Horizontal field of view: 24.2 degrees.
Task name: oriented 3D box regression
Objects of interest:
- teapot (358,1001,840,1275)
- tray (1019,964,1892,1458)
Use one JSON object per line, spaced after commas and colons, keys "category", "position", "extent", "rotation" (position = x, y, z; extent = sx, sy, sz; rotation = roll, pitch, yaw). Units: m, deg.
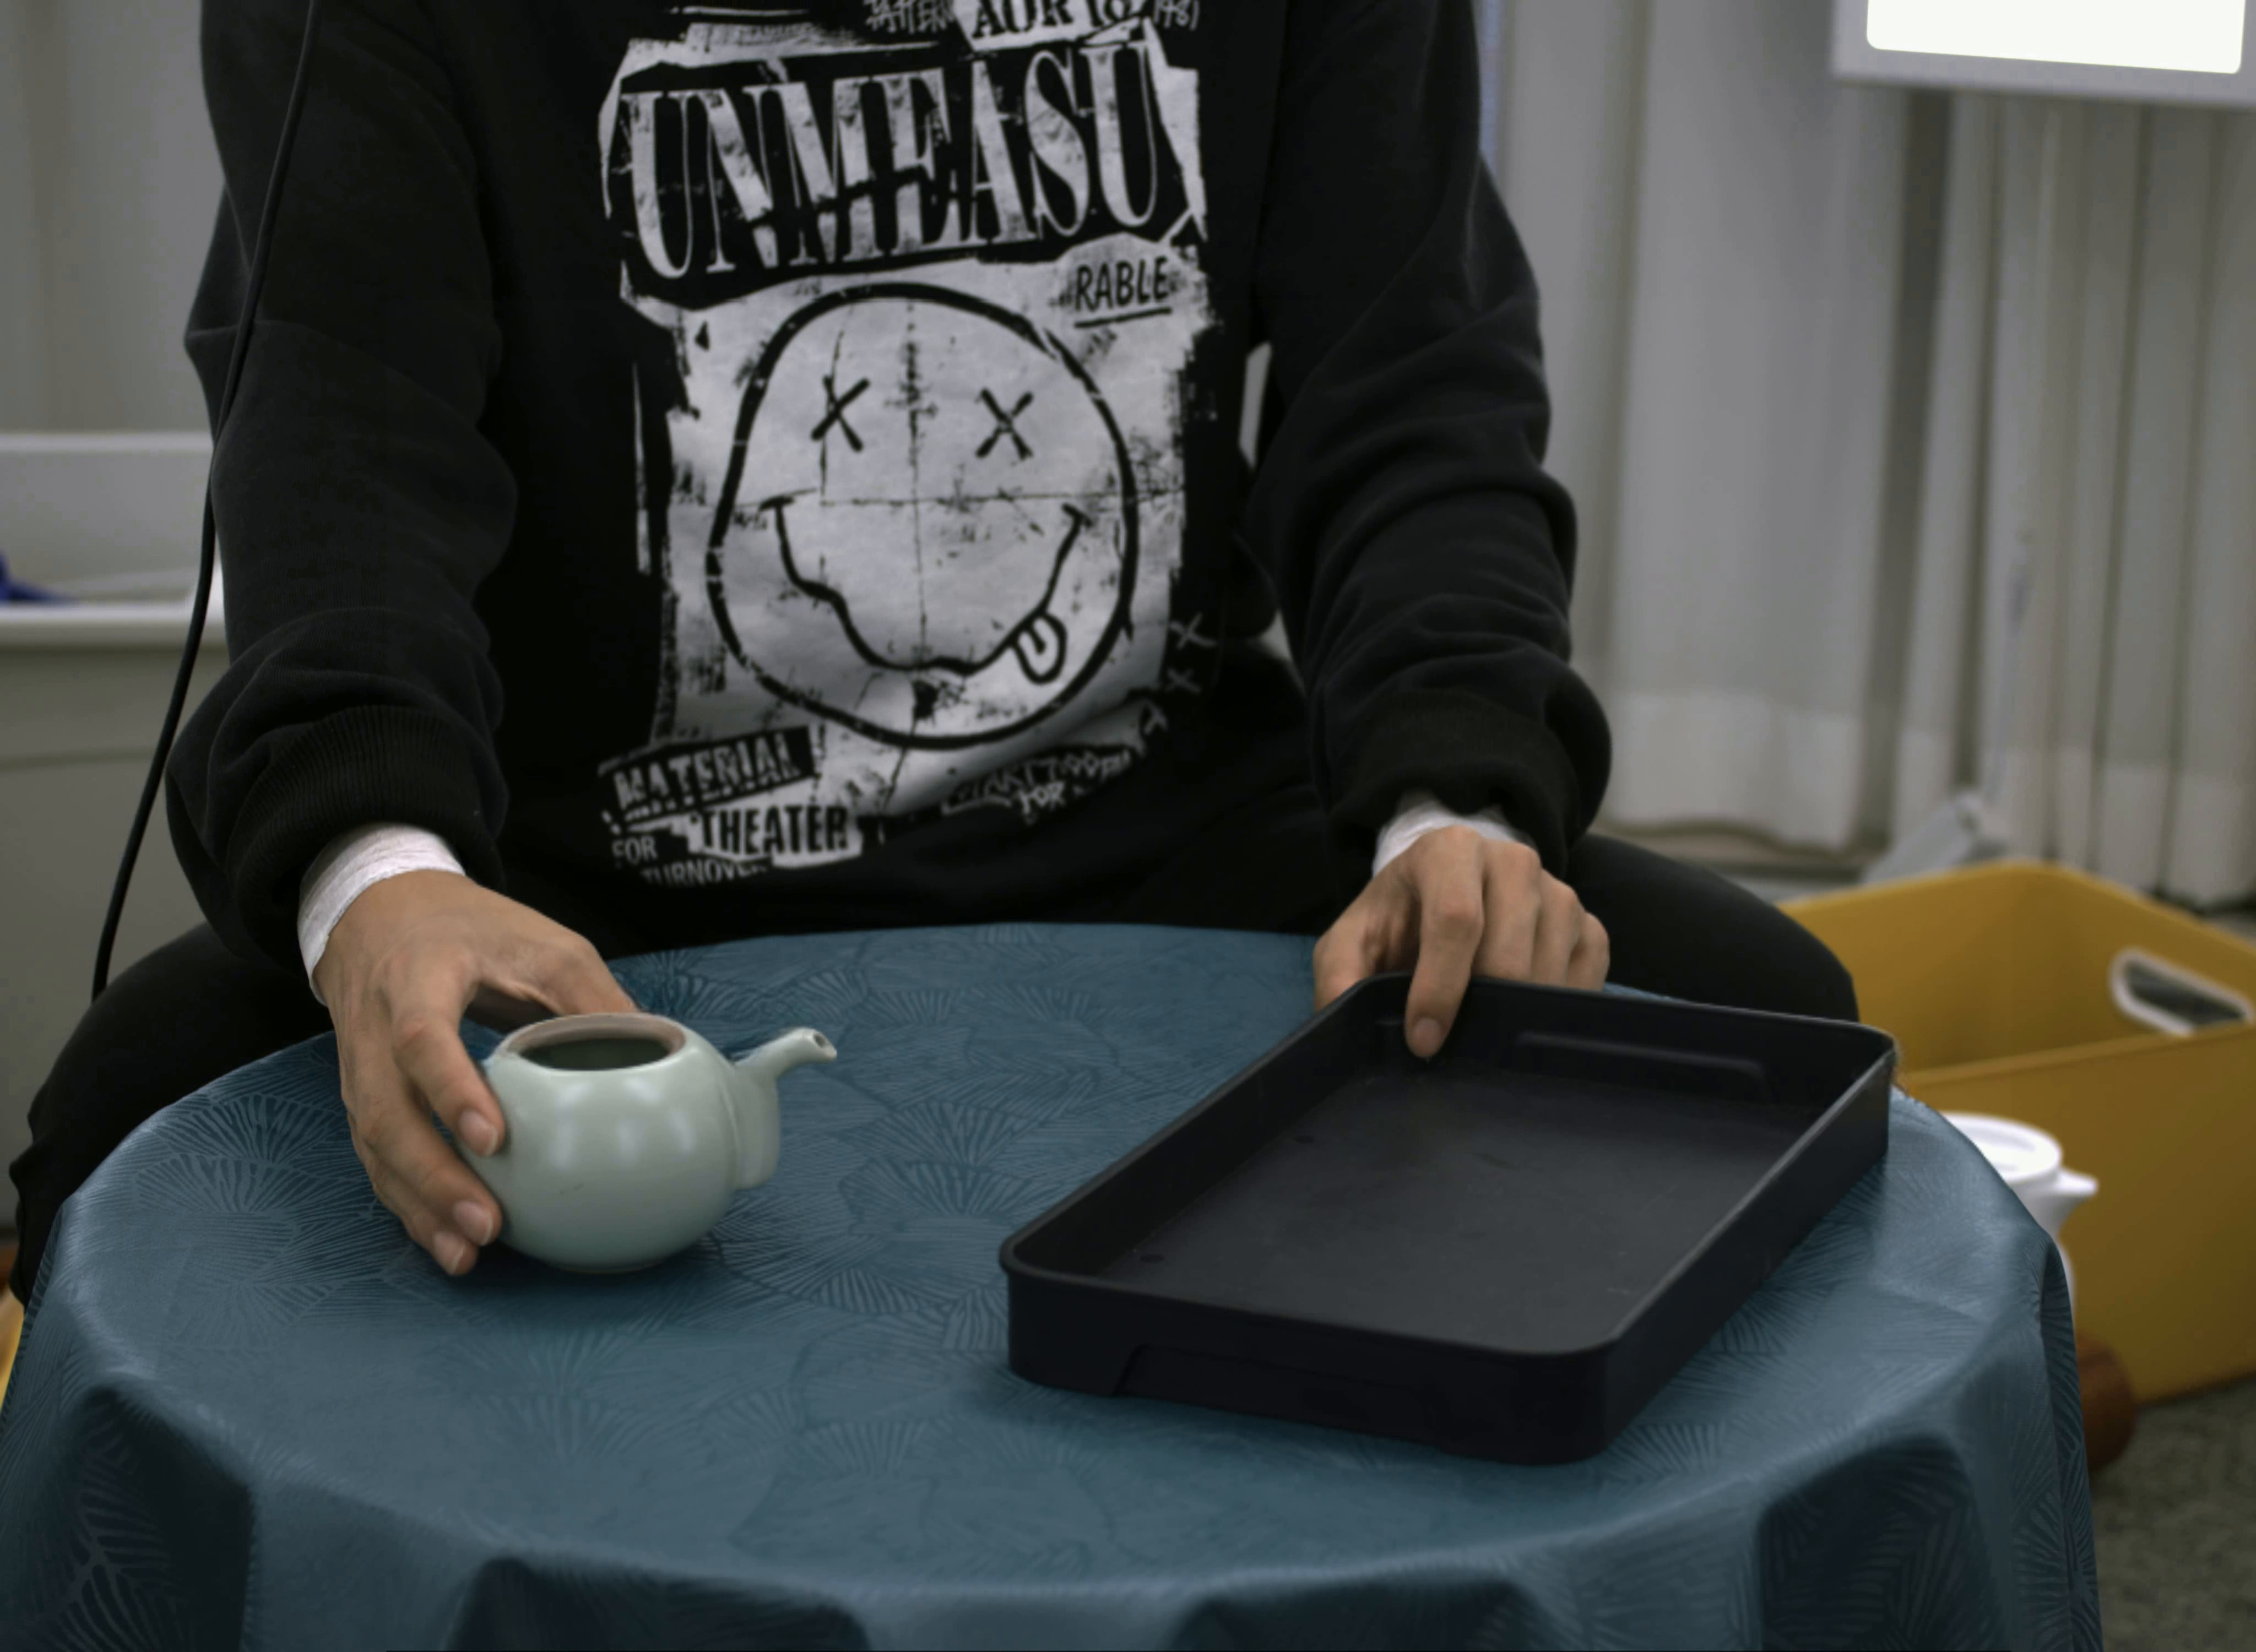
{"category": "teapot", "position": [-0.157, 0.091, 1.557], "extent": [0.143, 0.075, 0.088], "rotation": [4, 16, 6]}
{"category": "tray", "position": [0.106, 0.108, 1.575], "extent": [0.182, 0.037, 0.318], "rotation": [6, 17, 21]}
